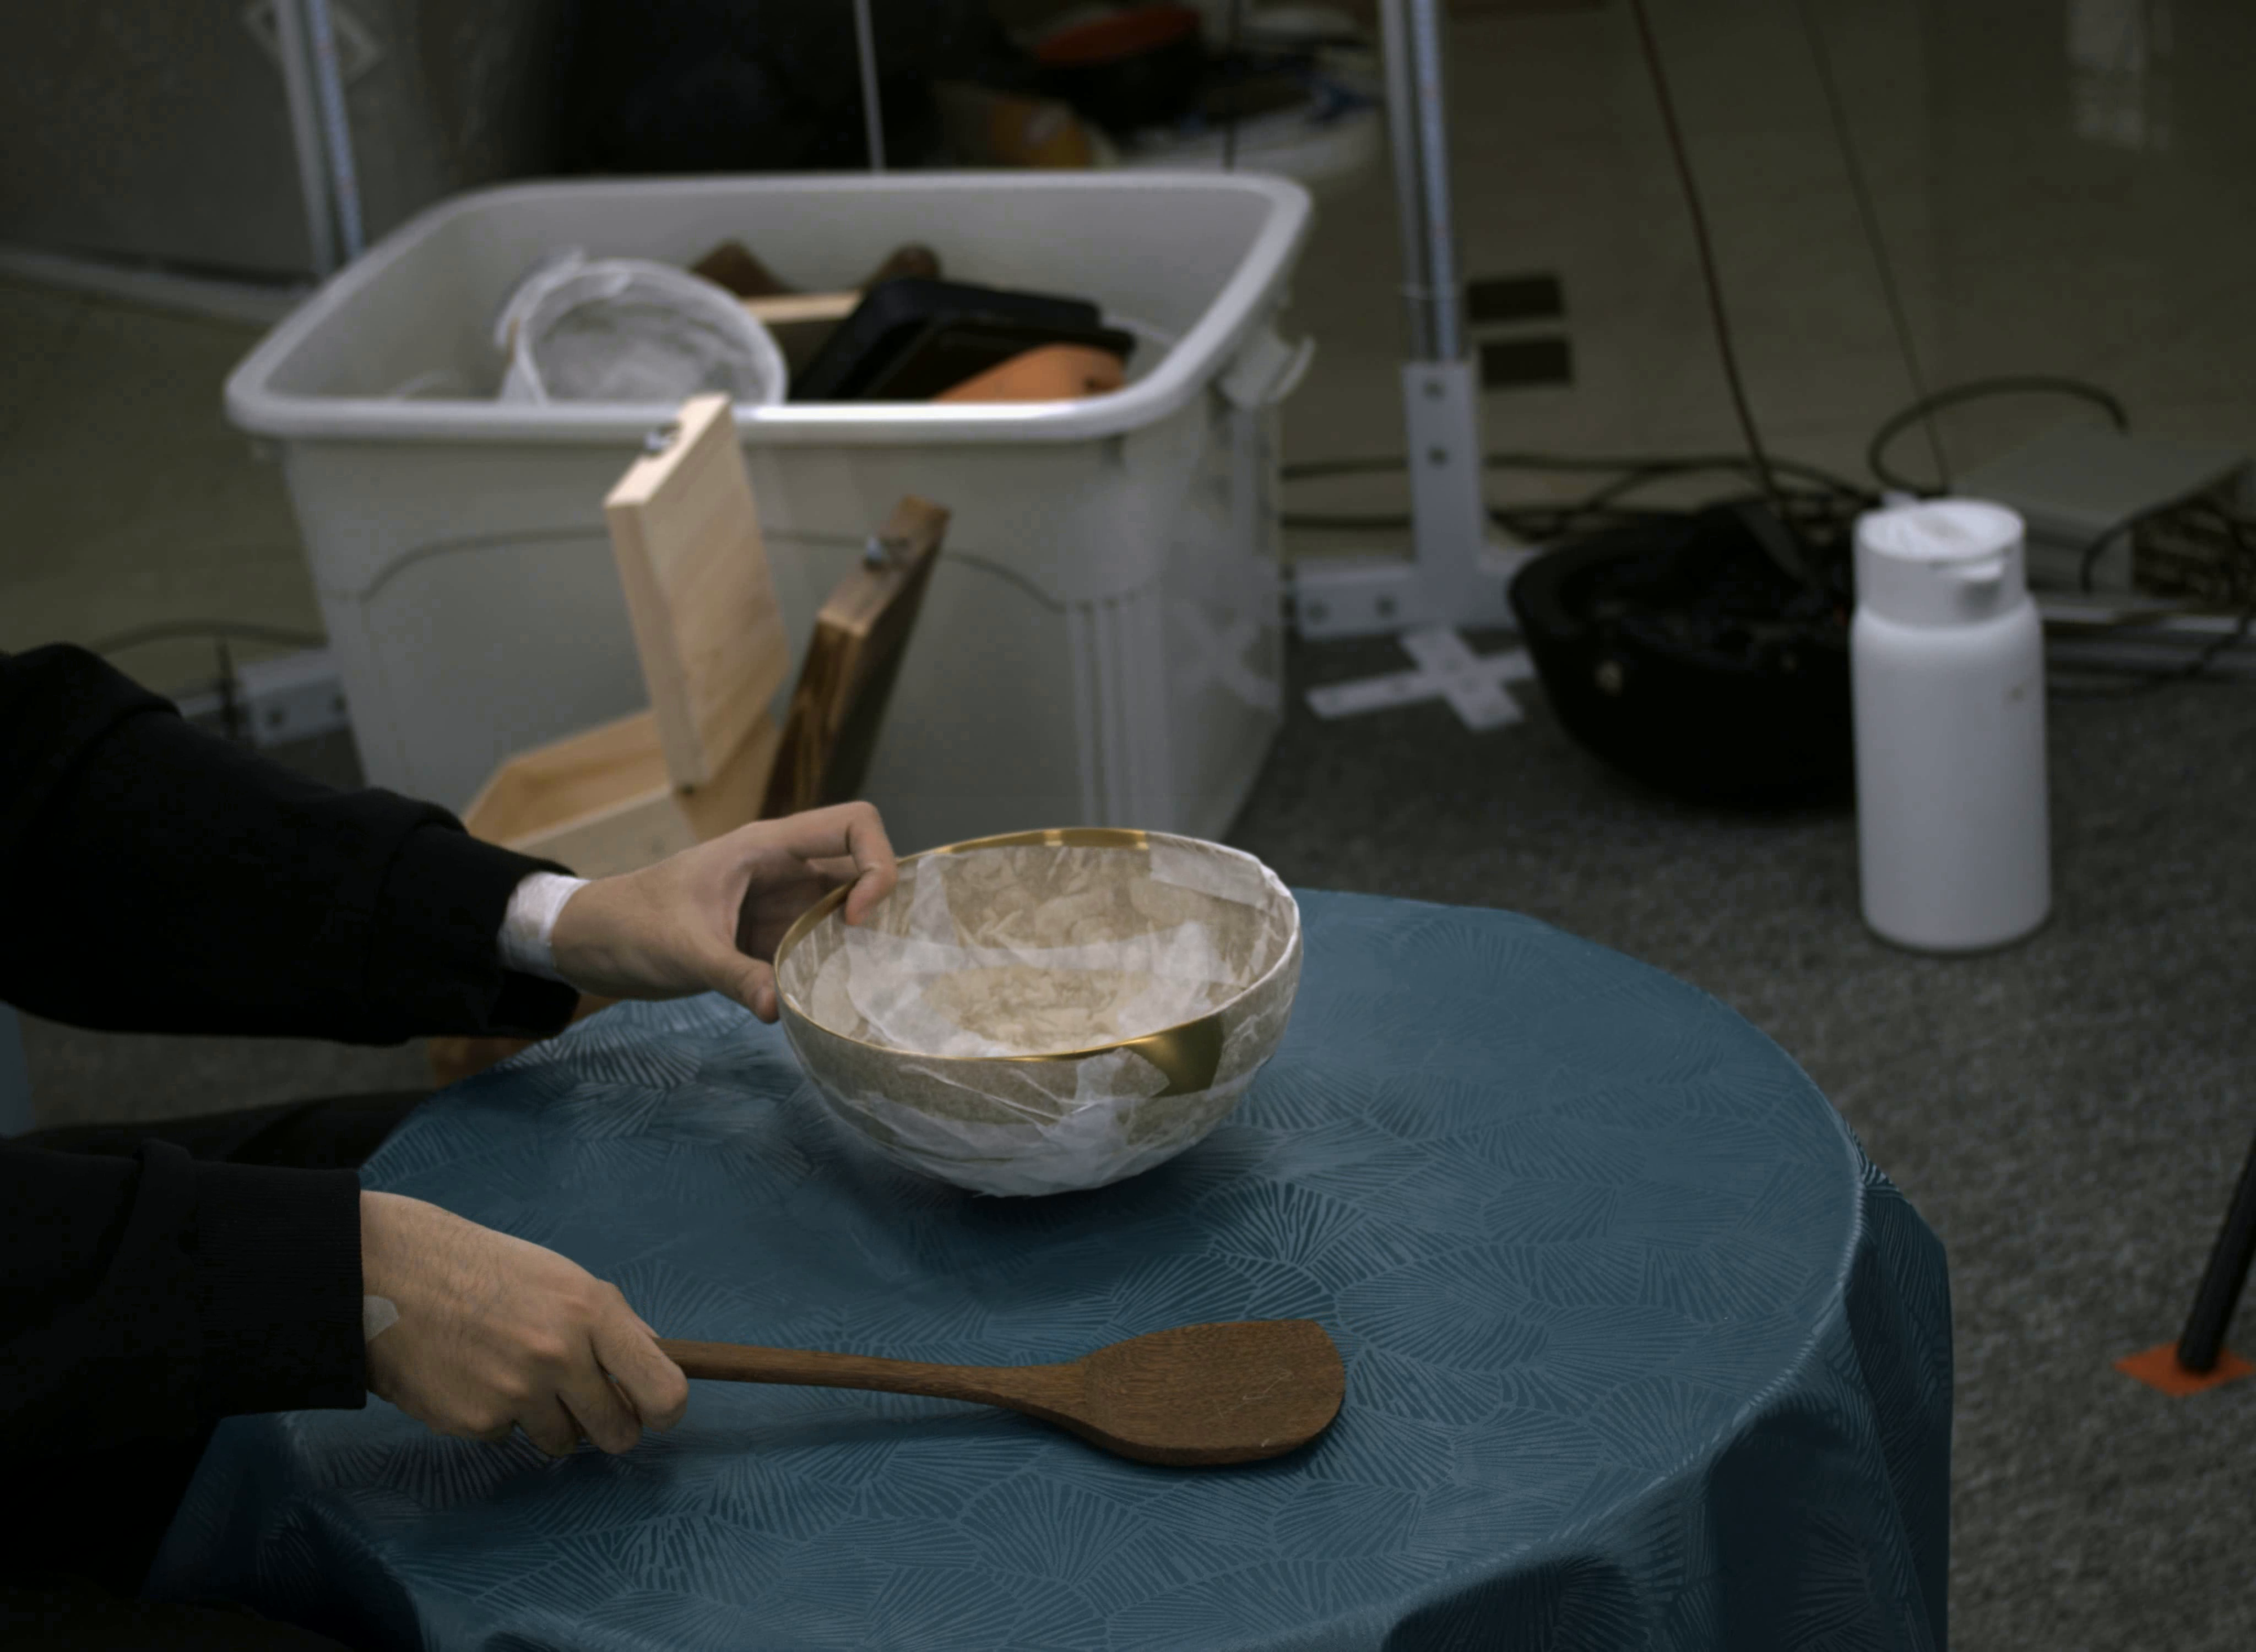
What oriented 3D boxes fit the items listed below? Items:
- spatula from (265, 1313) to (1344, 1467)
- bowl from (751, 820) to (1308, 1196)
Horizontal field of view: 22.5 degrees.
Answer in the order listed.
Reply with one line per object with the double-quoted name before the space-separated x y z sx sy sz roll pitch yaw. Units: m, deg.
"spatula" -0.116 0.193 2.010 0.385 0.016 0.095 3 24 4
"bowl" -0.033 0.082 2.171 0.214 0.096 0.211 -6 26 3
